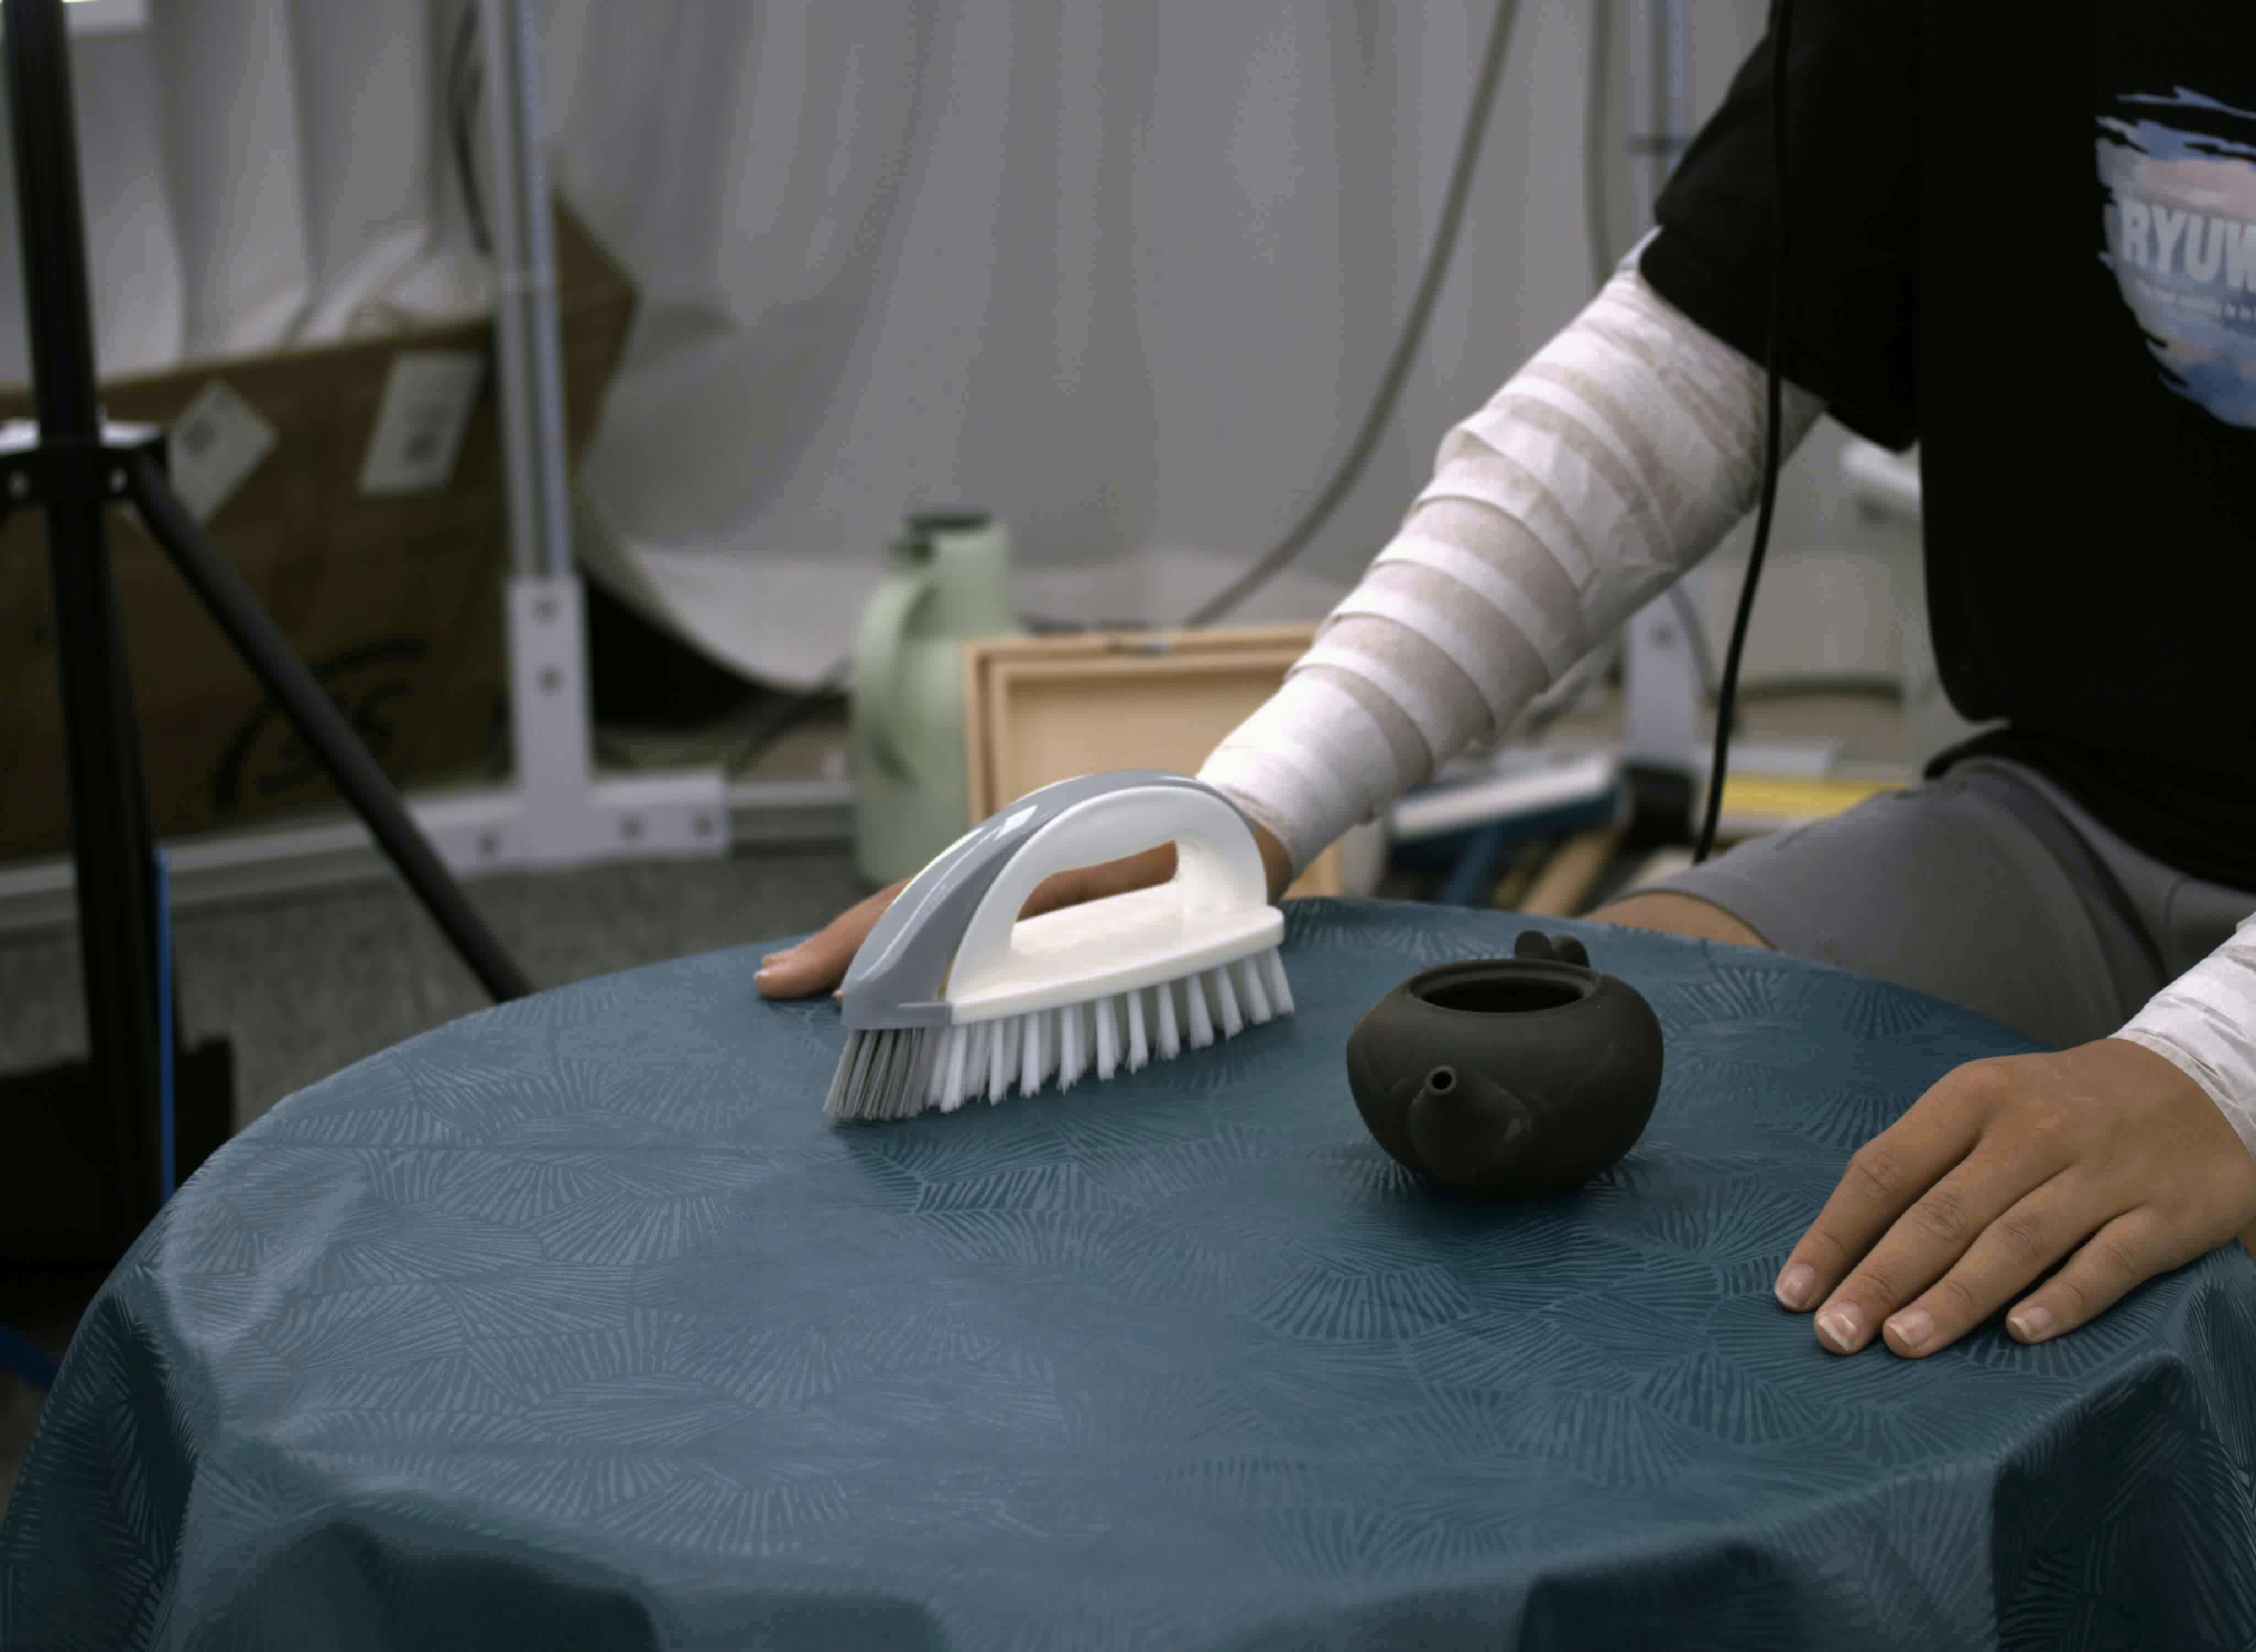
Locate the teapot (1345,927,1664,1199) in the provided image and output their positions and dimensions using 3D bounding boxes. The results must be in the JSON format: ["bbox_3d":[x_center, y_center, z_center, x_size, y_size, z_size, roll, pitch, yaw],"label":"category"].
[{"bbox_3d":[0.112,0.071,1.556,0.093,0.064,0.152,4,18,20],"label":"teapot"}]

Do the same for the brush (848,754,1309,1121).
[{"bbox_3d":[-0.023,0.032,1.666,0.171,0.094,0.063,-17,17,-37],"label":"brush"}]
